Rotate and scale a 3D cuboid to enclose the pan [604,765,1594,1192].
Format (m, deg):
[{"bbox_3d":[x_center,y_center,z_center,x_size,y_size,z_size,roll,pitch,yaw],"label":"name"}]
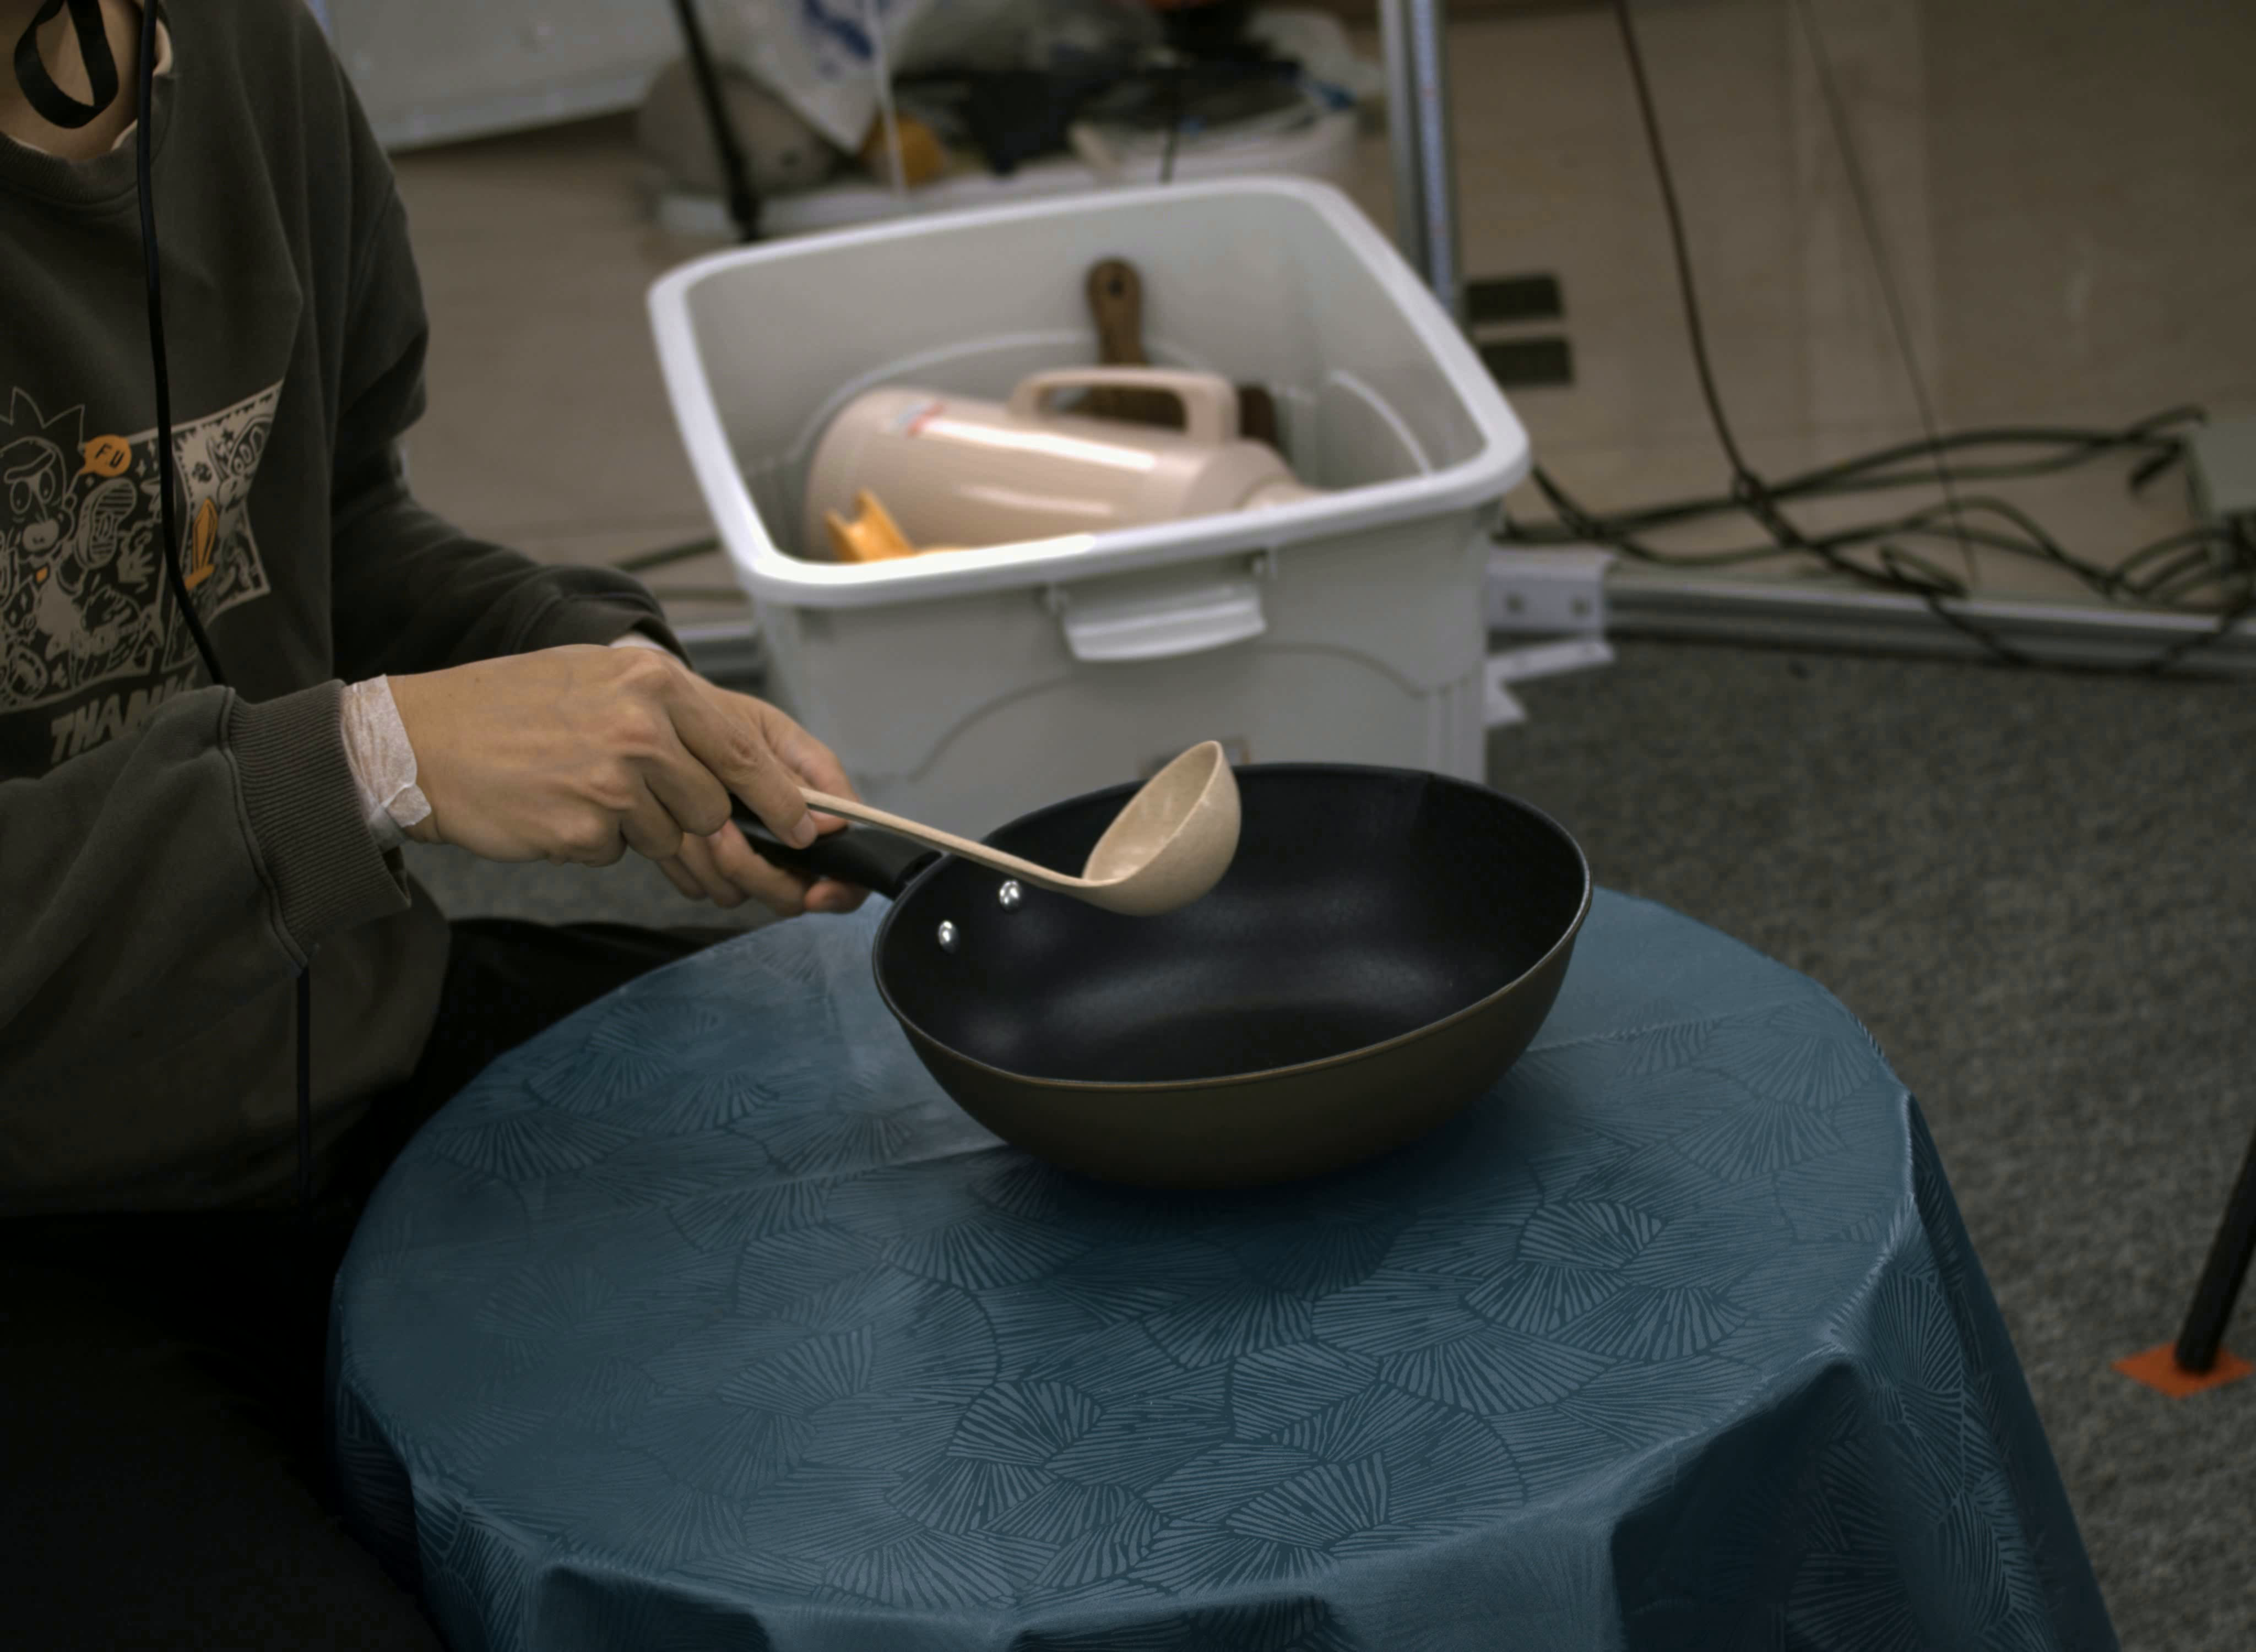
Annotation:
[{"bbox_3d":[-0.029,0.055,2.237,0.461,0.088,0.285,10,30,36],"label":"pan"}]

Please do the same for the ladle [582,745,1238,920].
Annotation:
[{"bbox_3d":[-0.077,-0.026,2.076,0.255,0.072,0.072,17,-6,-27],"label":"ladle"}]
